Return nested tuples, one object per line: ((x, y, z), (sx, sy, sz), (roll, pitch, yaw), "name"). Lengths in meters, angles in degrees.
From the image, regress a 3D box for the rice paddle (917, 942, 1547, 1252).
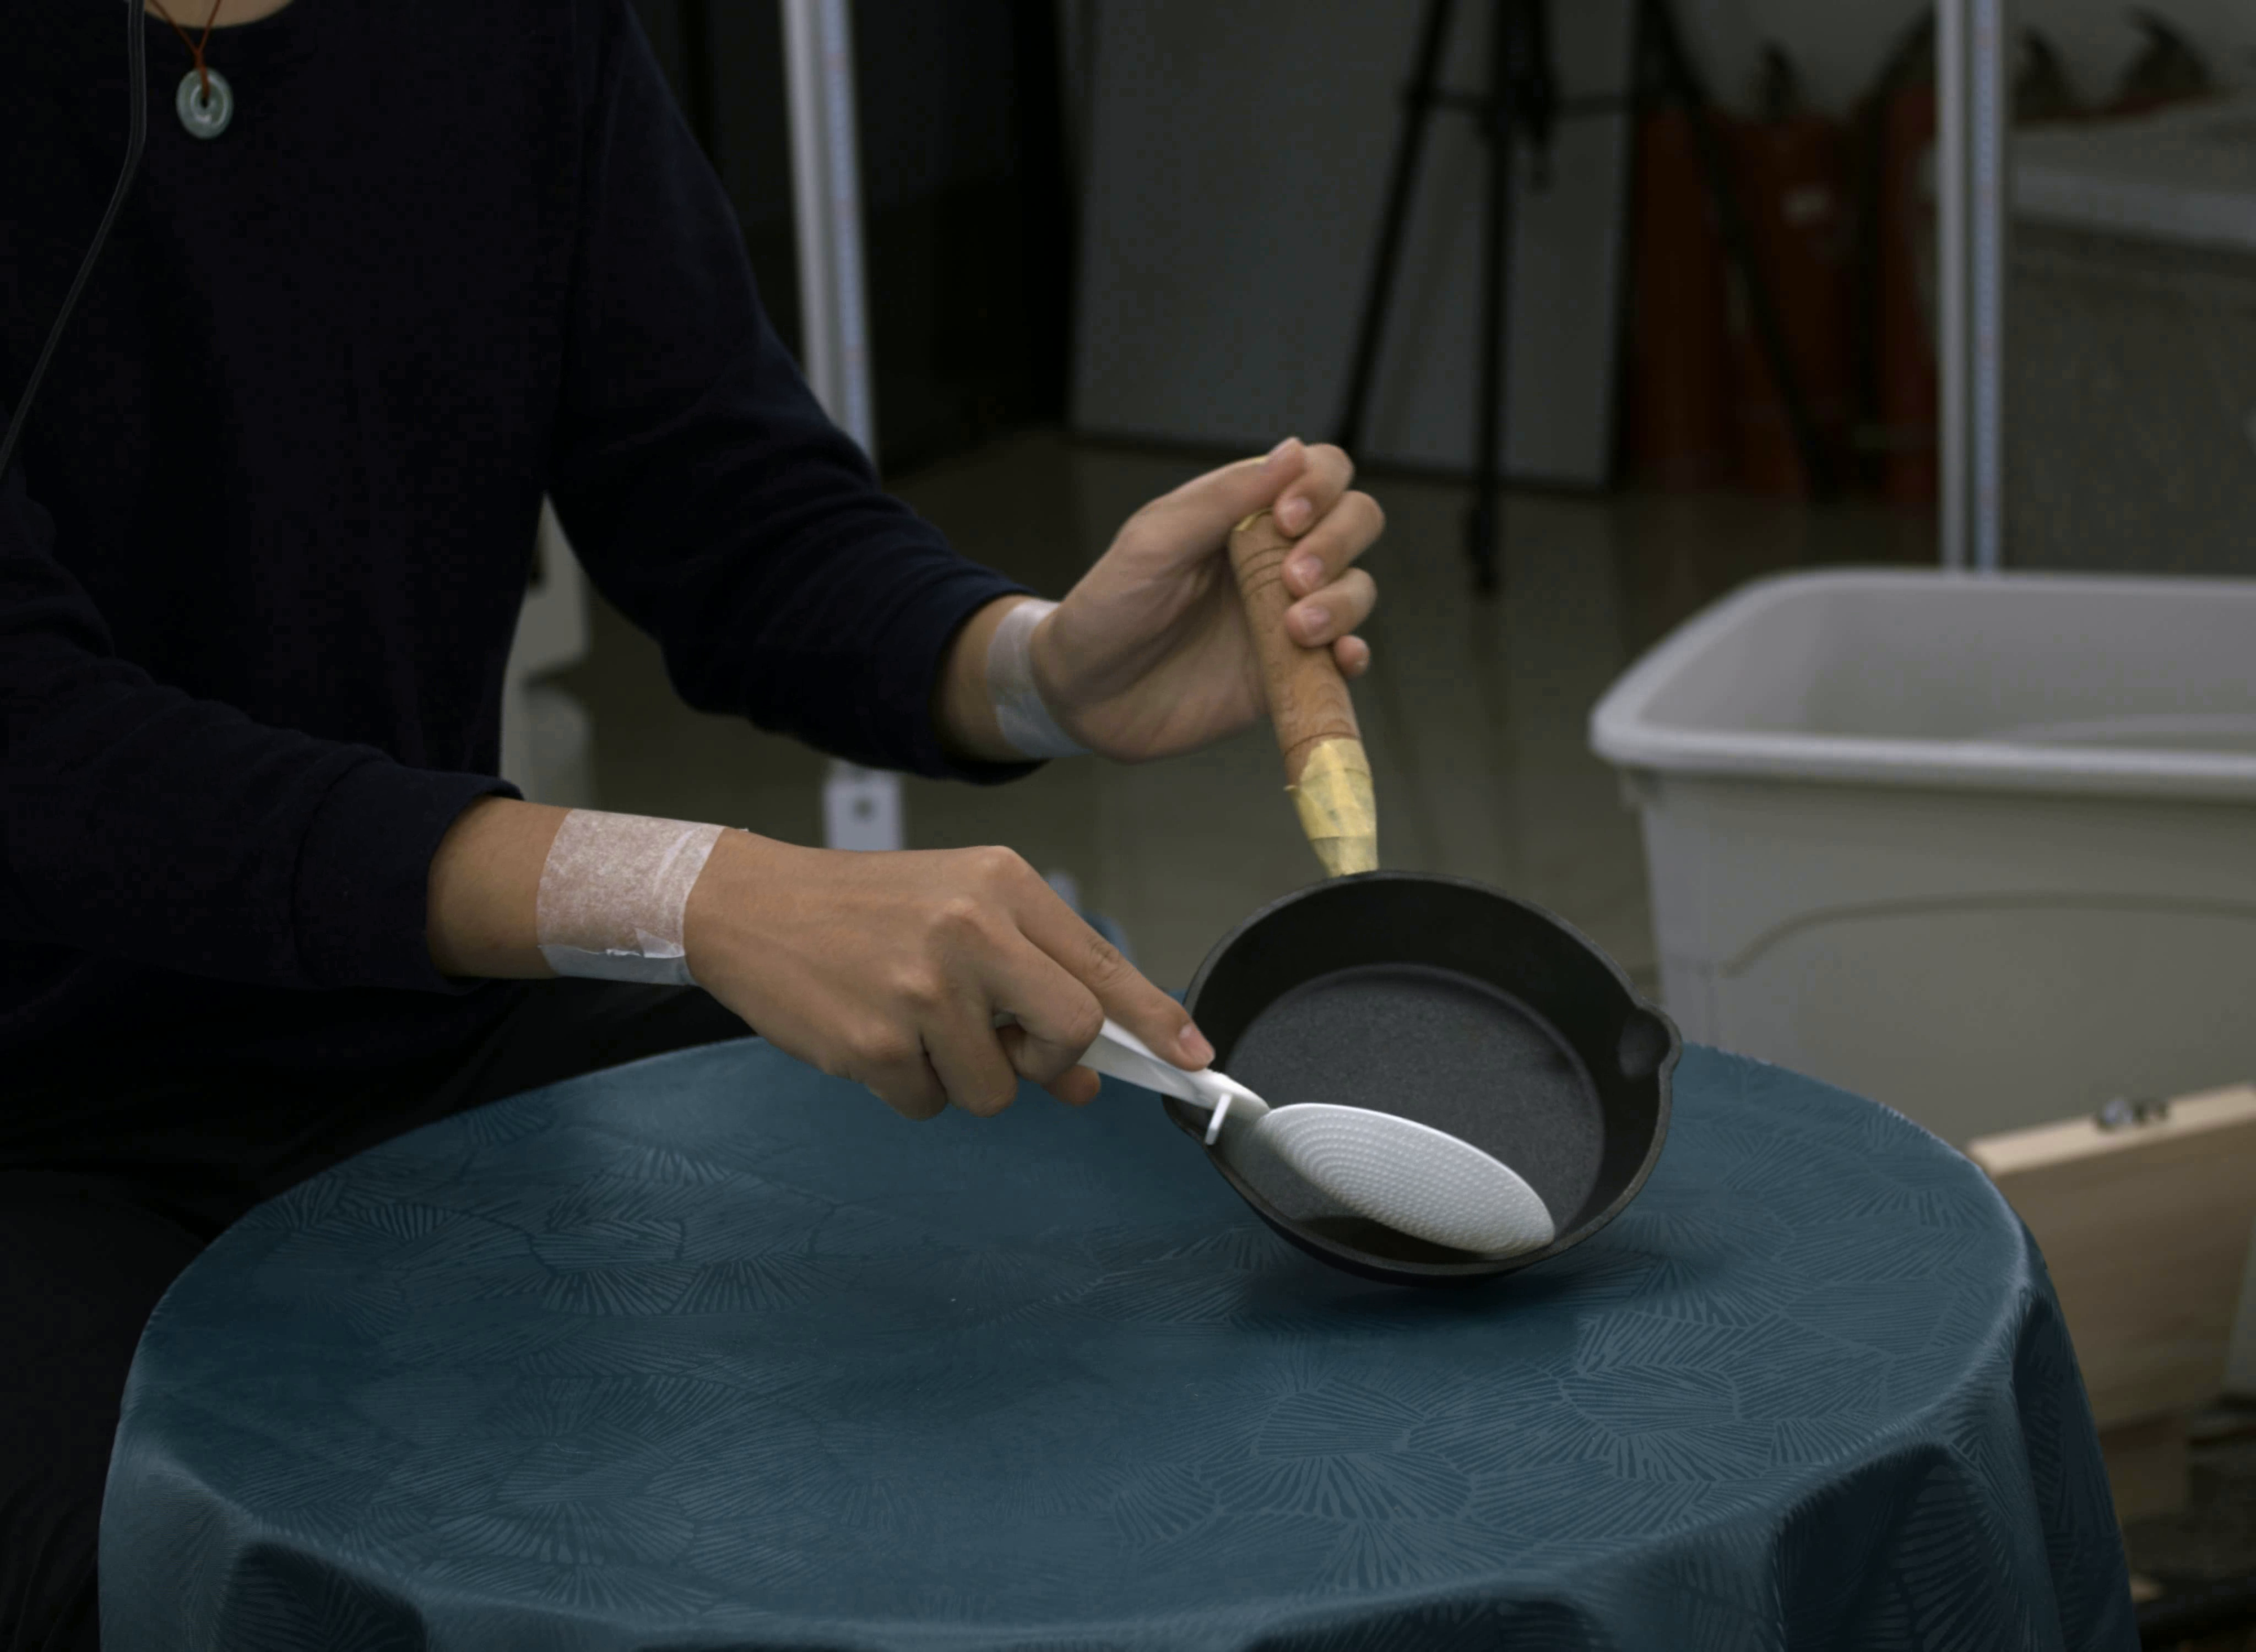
((0.034, 0.086, 1.648), (0.204, 0.069, 0.029), (21, 62, 6), "rice paddle")

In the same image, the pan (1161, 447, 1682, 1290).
((0.076, 0.013, 1.733), (0.166, 0.050, 0.328), (-5, 52, -10), "pan")
